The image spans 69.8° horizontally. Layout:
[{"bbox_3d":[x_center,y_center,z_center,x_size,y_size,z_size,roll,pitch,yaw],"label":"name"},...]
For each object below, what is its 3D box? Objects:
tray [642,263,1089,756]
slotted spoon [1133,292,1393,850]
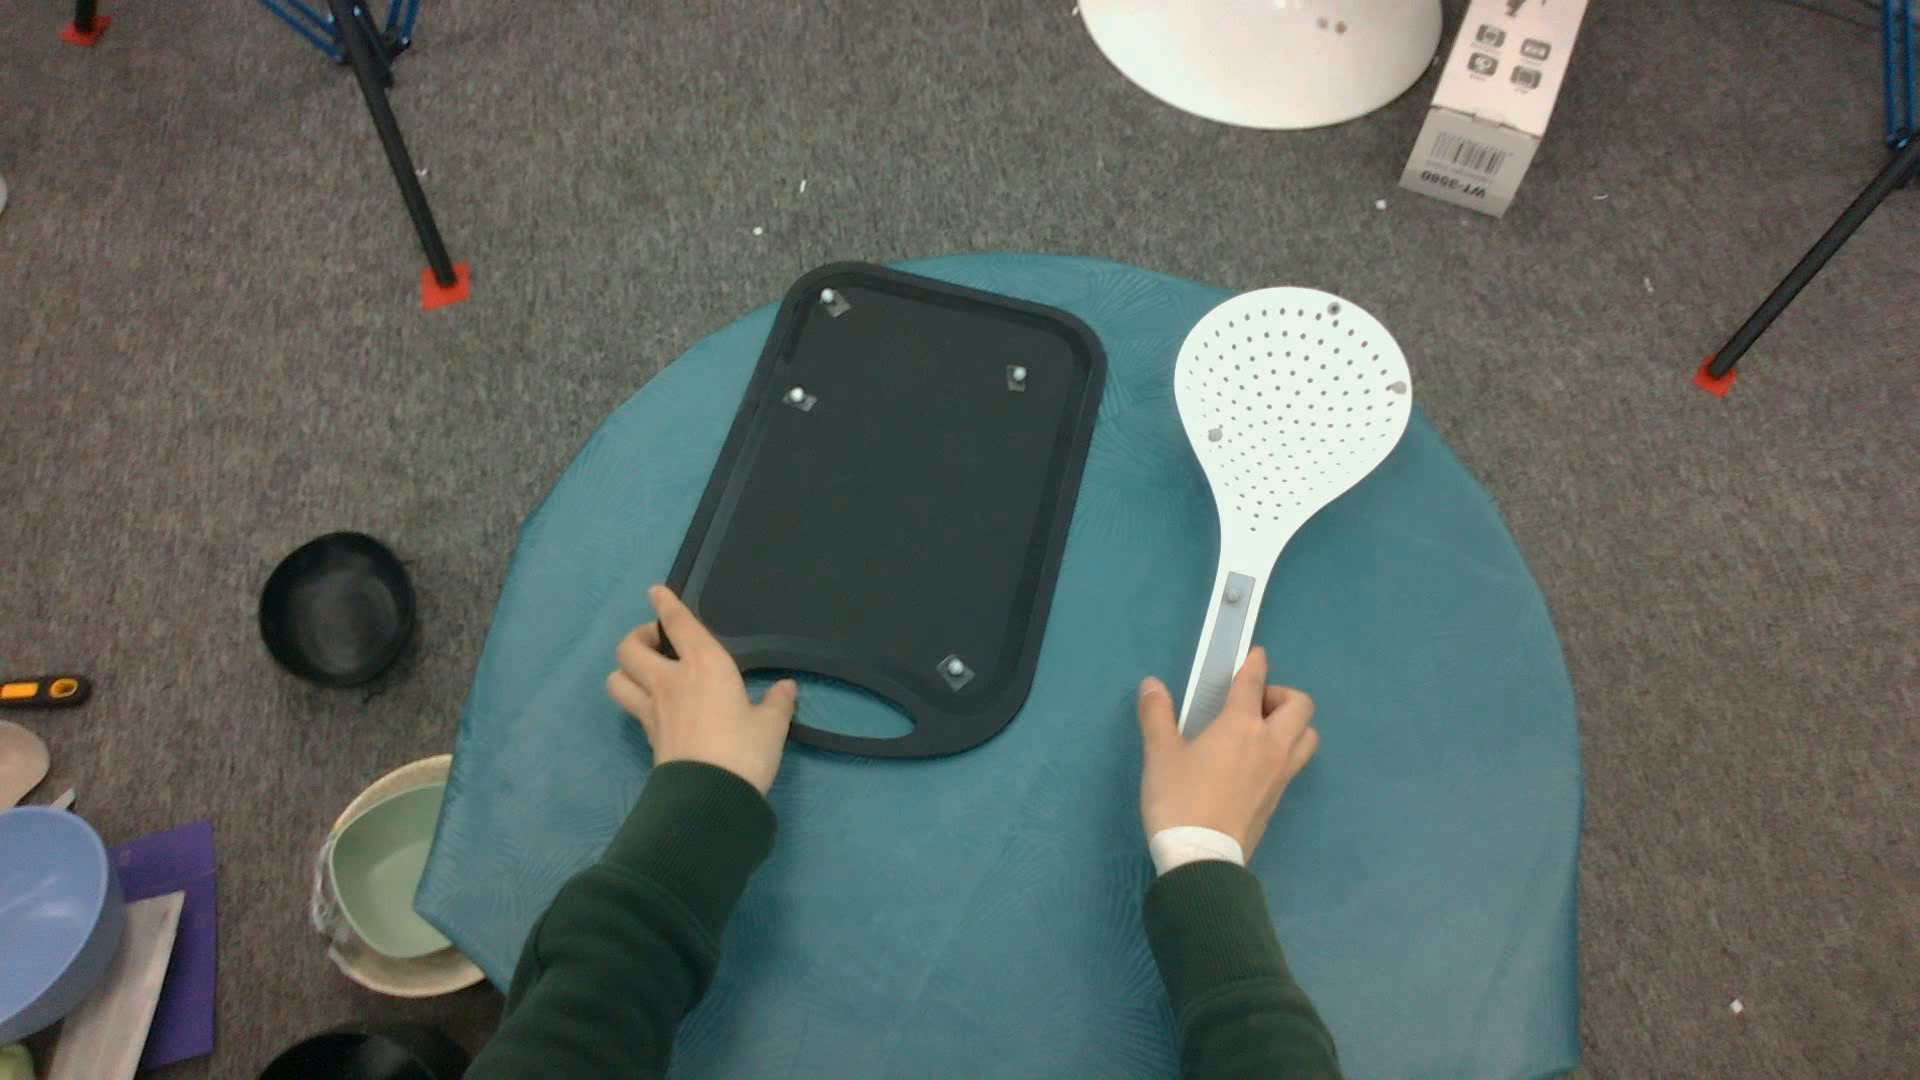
[{"bbox_3d":[-0.048,-0.028,0.802,0.211,0.010,0.327,14,59,3],"label":"tray"},{"bbox_3d":[0.155,0.006,0.777,0.136,0.045,0.351,16,61,8],"label":"slotted spoon"}]
